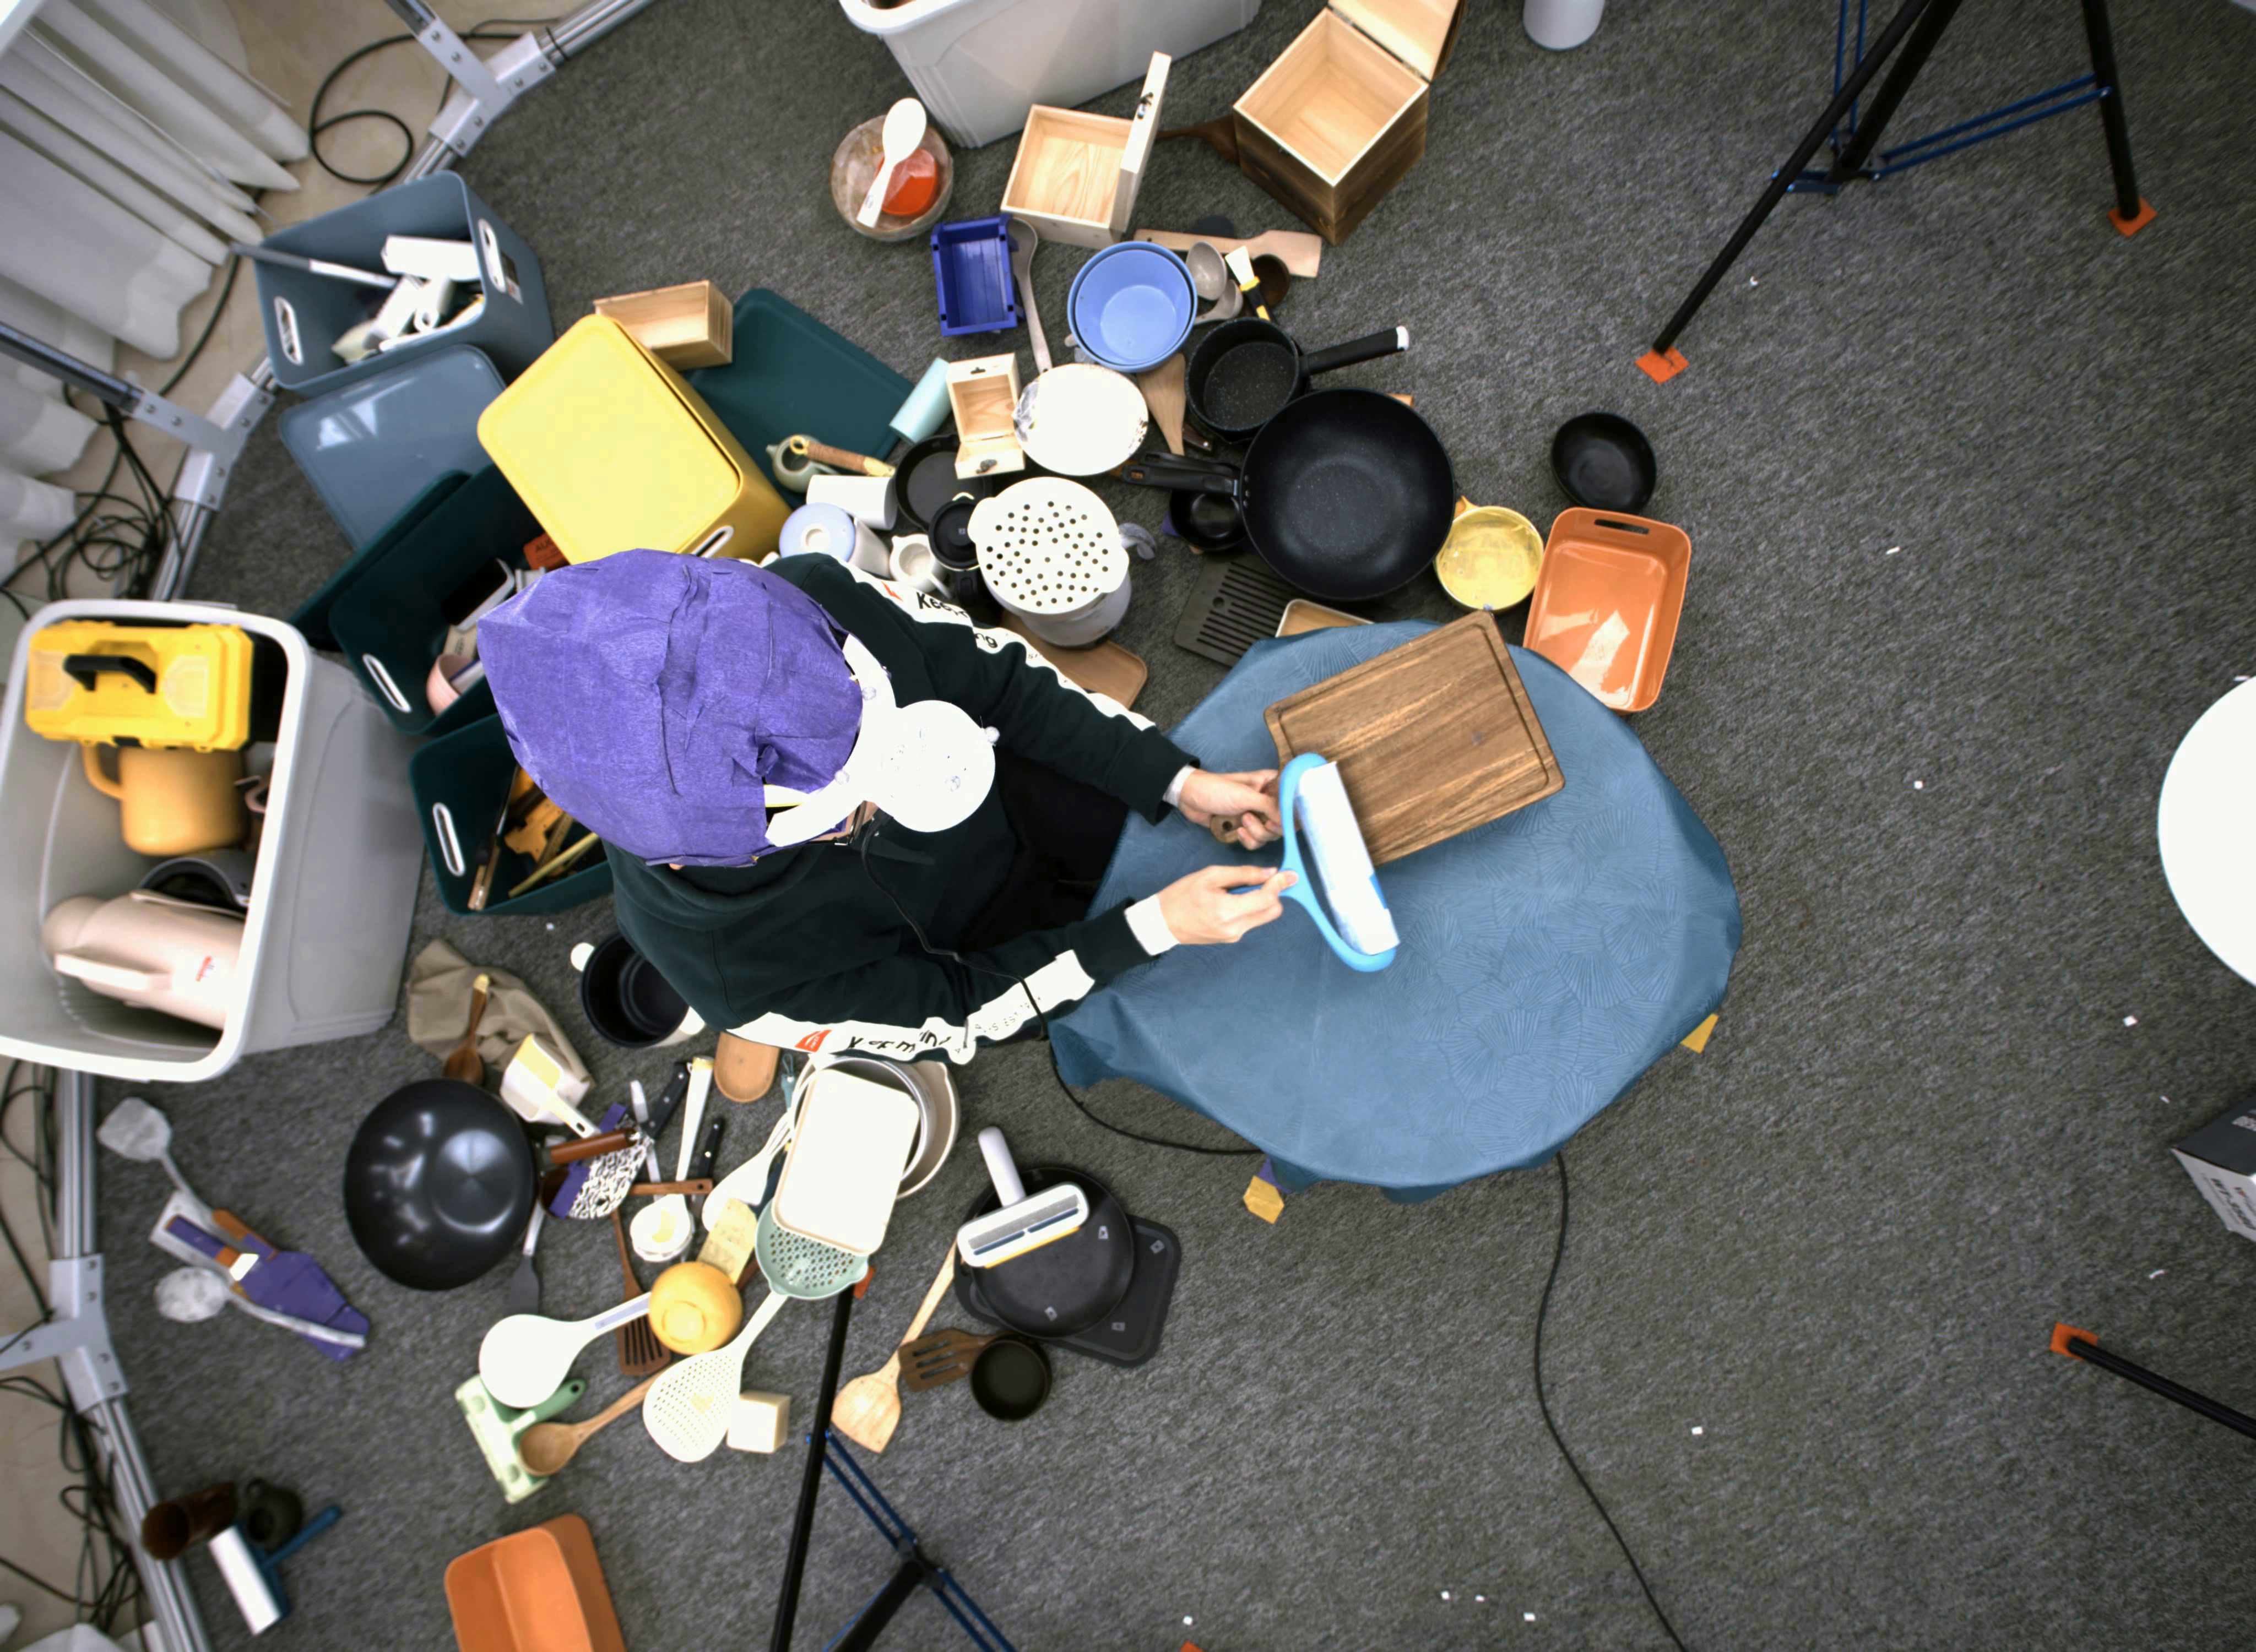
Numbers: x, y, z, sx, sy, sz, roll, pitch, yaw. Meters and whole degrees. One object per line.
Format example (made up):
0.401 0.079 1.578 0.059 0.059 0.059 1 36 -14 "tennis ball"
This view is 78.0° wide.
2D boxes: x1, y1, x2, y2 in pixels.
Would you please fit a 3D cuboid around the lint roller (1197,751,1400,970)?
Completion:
0.158 0.056 1.376 0.180 0.068 0.229 -23 92 -3 "lint roller"

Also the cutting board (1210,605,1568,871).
0.241 -0.062 1.393 0.356 0.023 0.200 -24 89 20 "cutting board"
